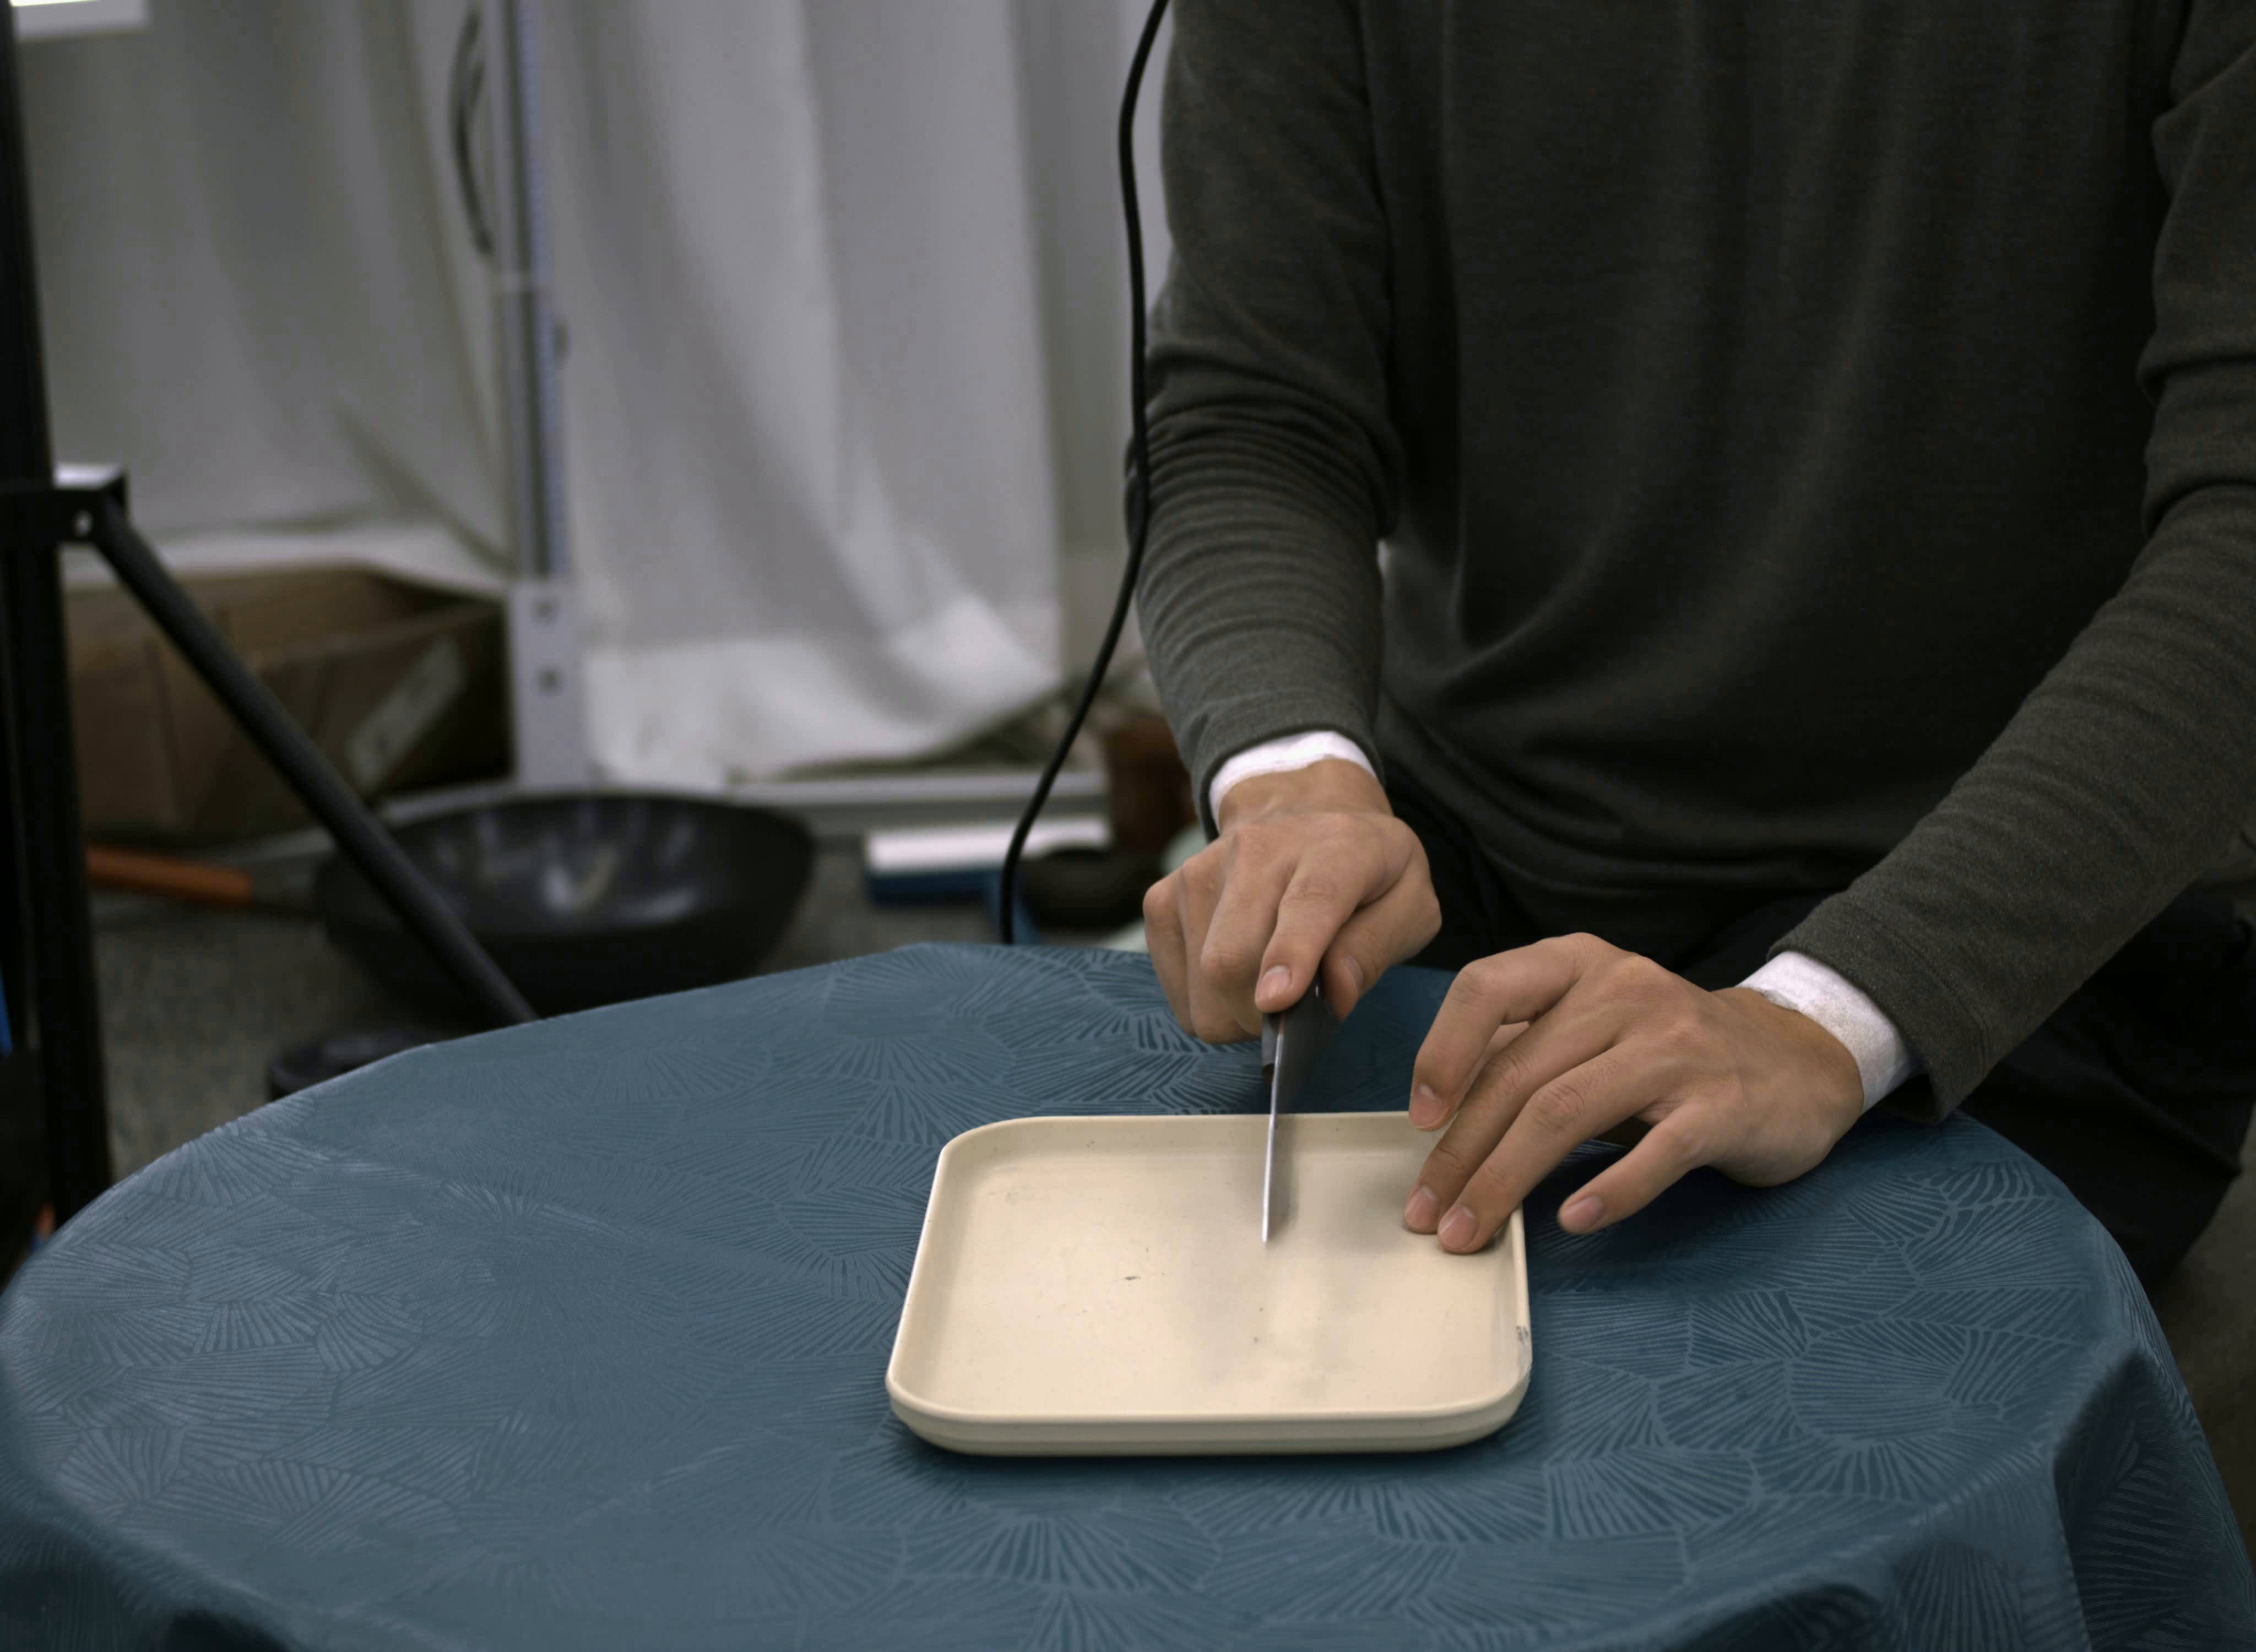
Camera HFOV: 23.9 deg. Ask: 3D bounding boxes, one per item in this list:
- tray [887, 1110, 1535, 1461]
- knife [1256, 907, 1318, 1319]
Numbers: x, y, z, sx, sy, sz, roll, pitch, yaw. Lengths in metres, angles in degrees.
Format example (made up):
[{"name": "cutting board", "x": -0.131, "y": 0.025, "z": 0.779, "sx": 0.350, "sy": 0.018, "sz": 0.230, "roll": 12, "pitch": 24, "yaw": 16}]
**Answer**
[{"name": "tray", "x": 0.026, "y": 0.125, "z": 1.464, "sx": 0.171, "sy": 0.017, "sz": 0.240, "roll": -2, "pitch": 16, "yaw": 5}, {"name": "knife", "x": 0.043, "y": 0.077, "z": 1.499, "sx": 0.016, "sy": 0.024, "sz": 0.239, "roll": -7, "pitch": 23, "yaw": 7}]
